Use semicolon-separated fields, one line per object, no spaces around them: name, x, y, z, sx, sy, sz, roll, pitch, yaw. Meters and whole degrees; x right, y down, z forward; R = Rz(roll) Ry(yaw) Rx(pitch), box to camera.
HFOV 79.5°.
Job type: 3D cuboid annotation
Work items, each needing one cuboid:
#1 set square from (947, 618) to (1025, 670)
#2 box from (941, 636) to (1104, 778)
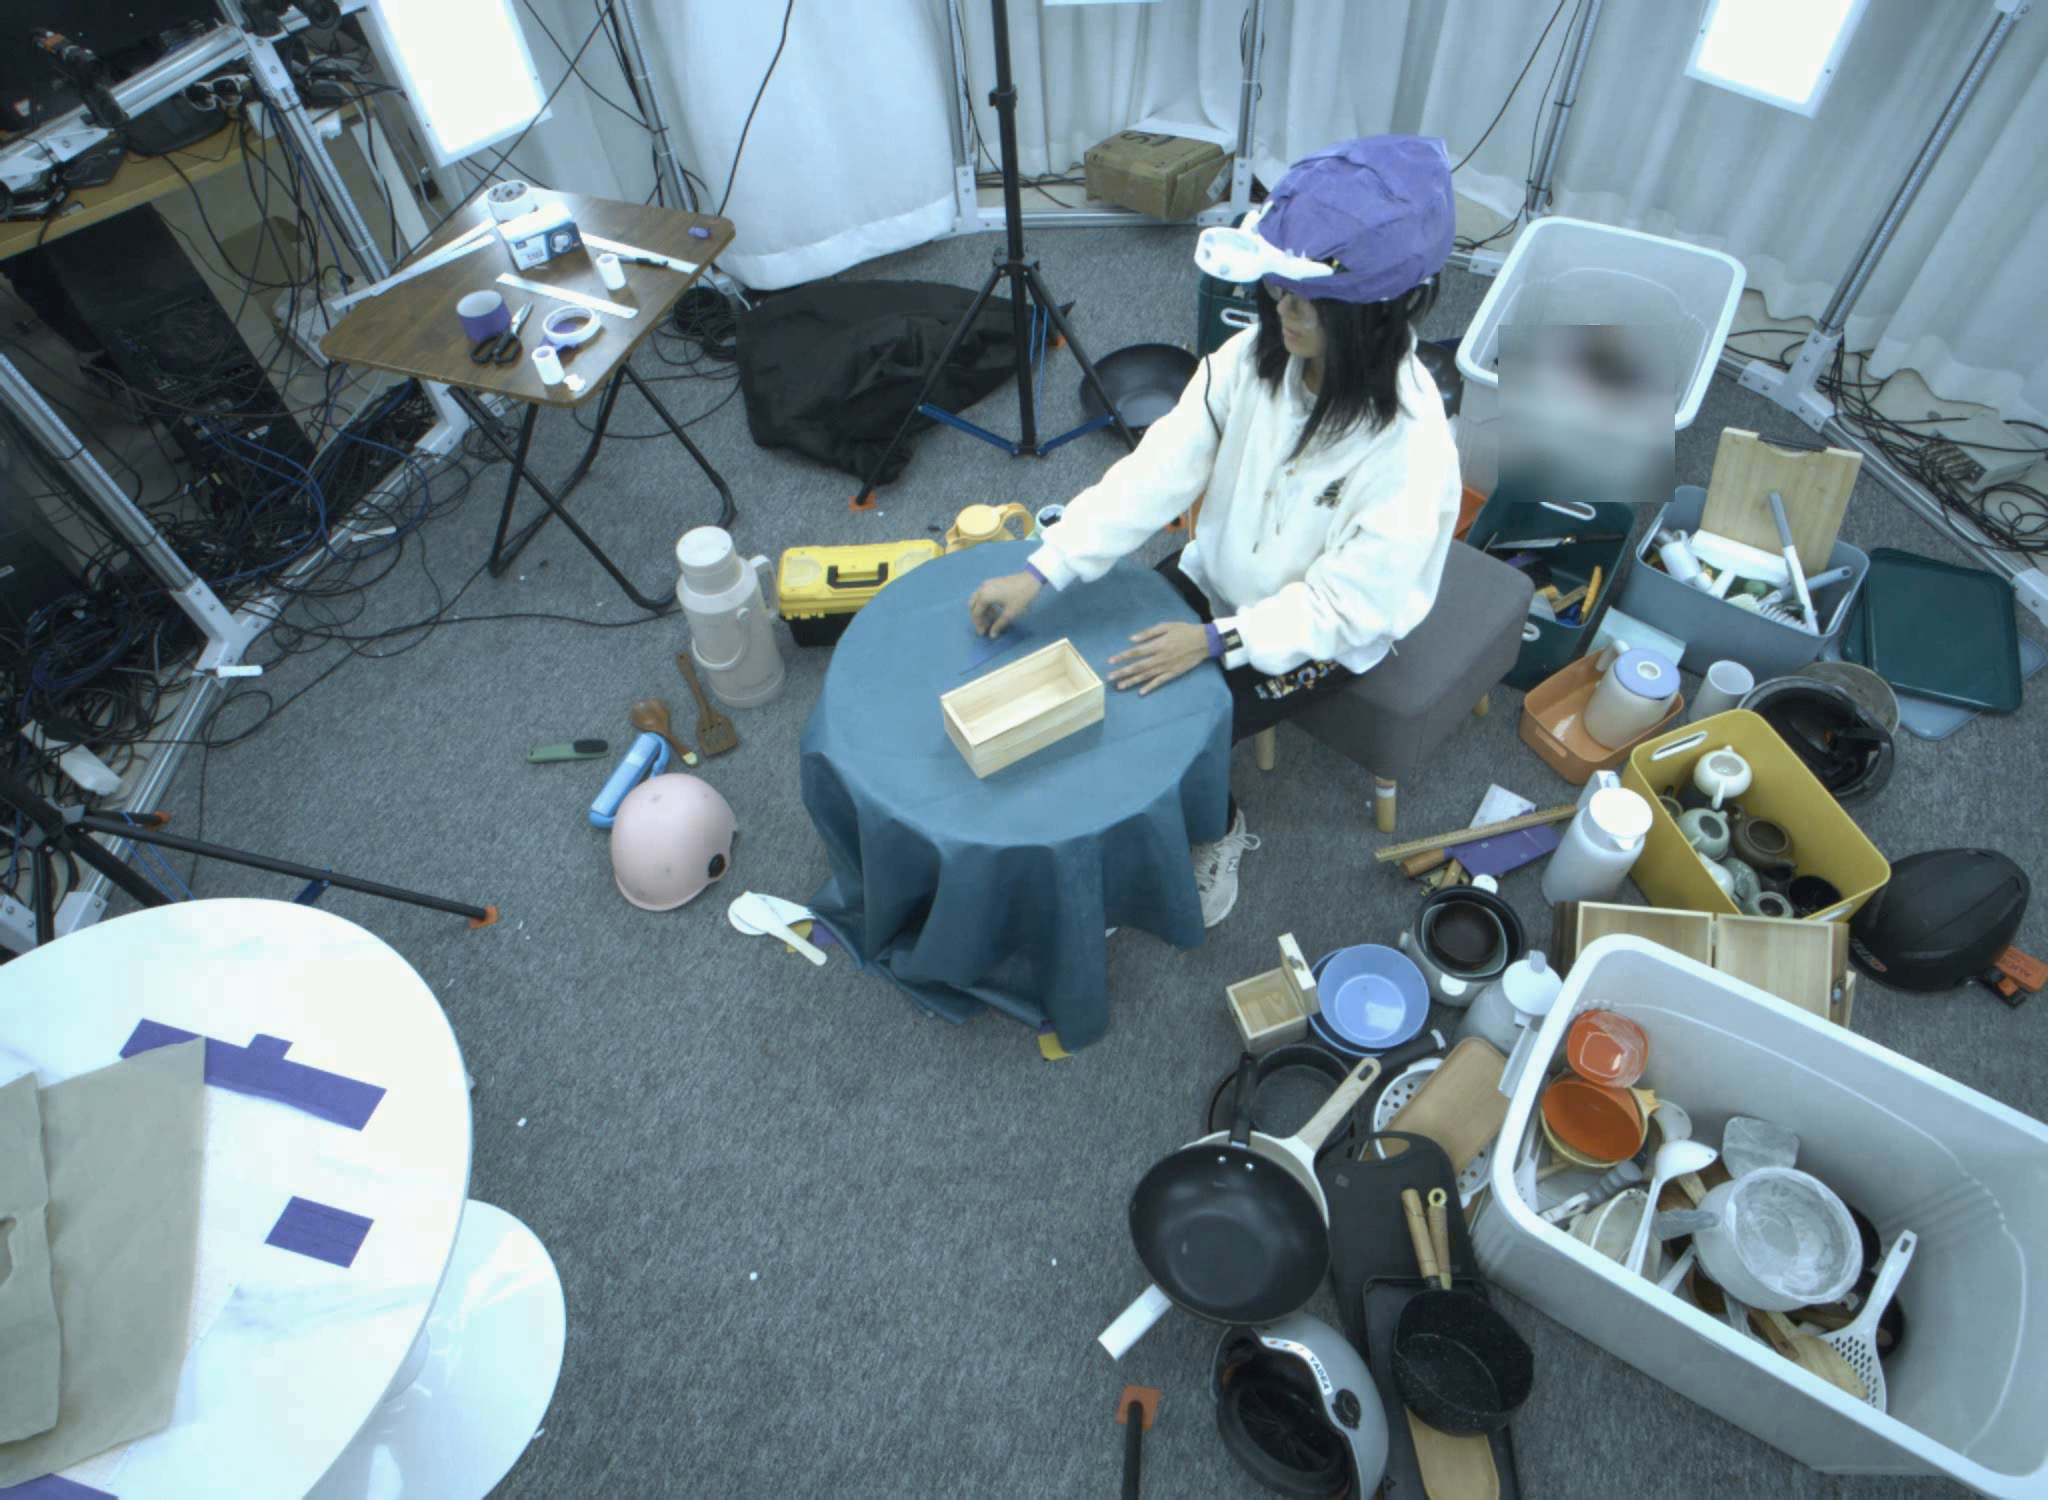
set square;-0.069;-0.170;1.906;0.133;0.006;0.060;-26;63;-16
box;0.000;-0.063;1.783;0.213;0.081;0.105;-27;59;-16
